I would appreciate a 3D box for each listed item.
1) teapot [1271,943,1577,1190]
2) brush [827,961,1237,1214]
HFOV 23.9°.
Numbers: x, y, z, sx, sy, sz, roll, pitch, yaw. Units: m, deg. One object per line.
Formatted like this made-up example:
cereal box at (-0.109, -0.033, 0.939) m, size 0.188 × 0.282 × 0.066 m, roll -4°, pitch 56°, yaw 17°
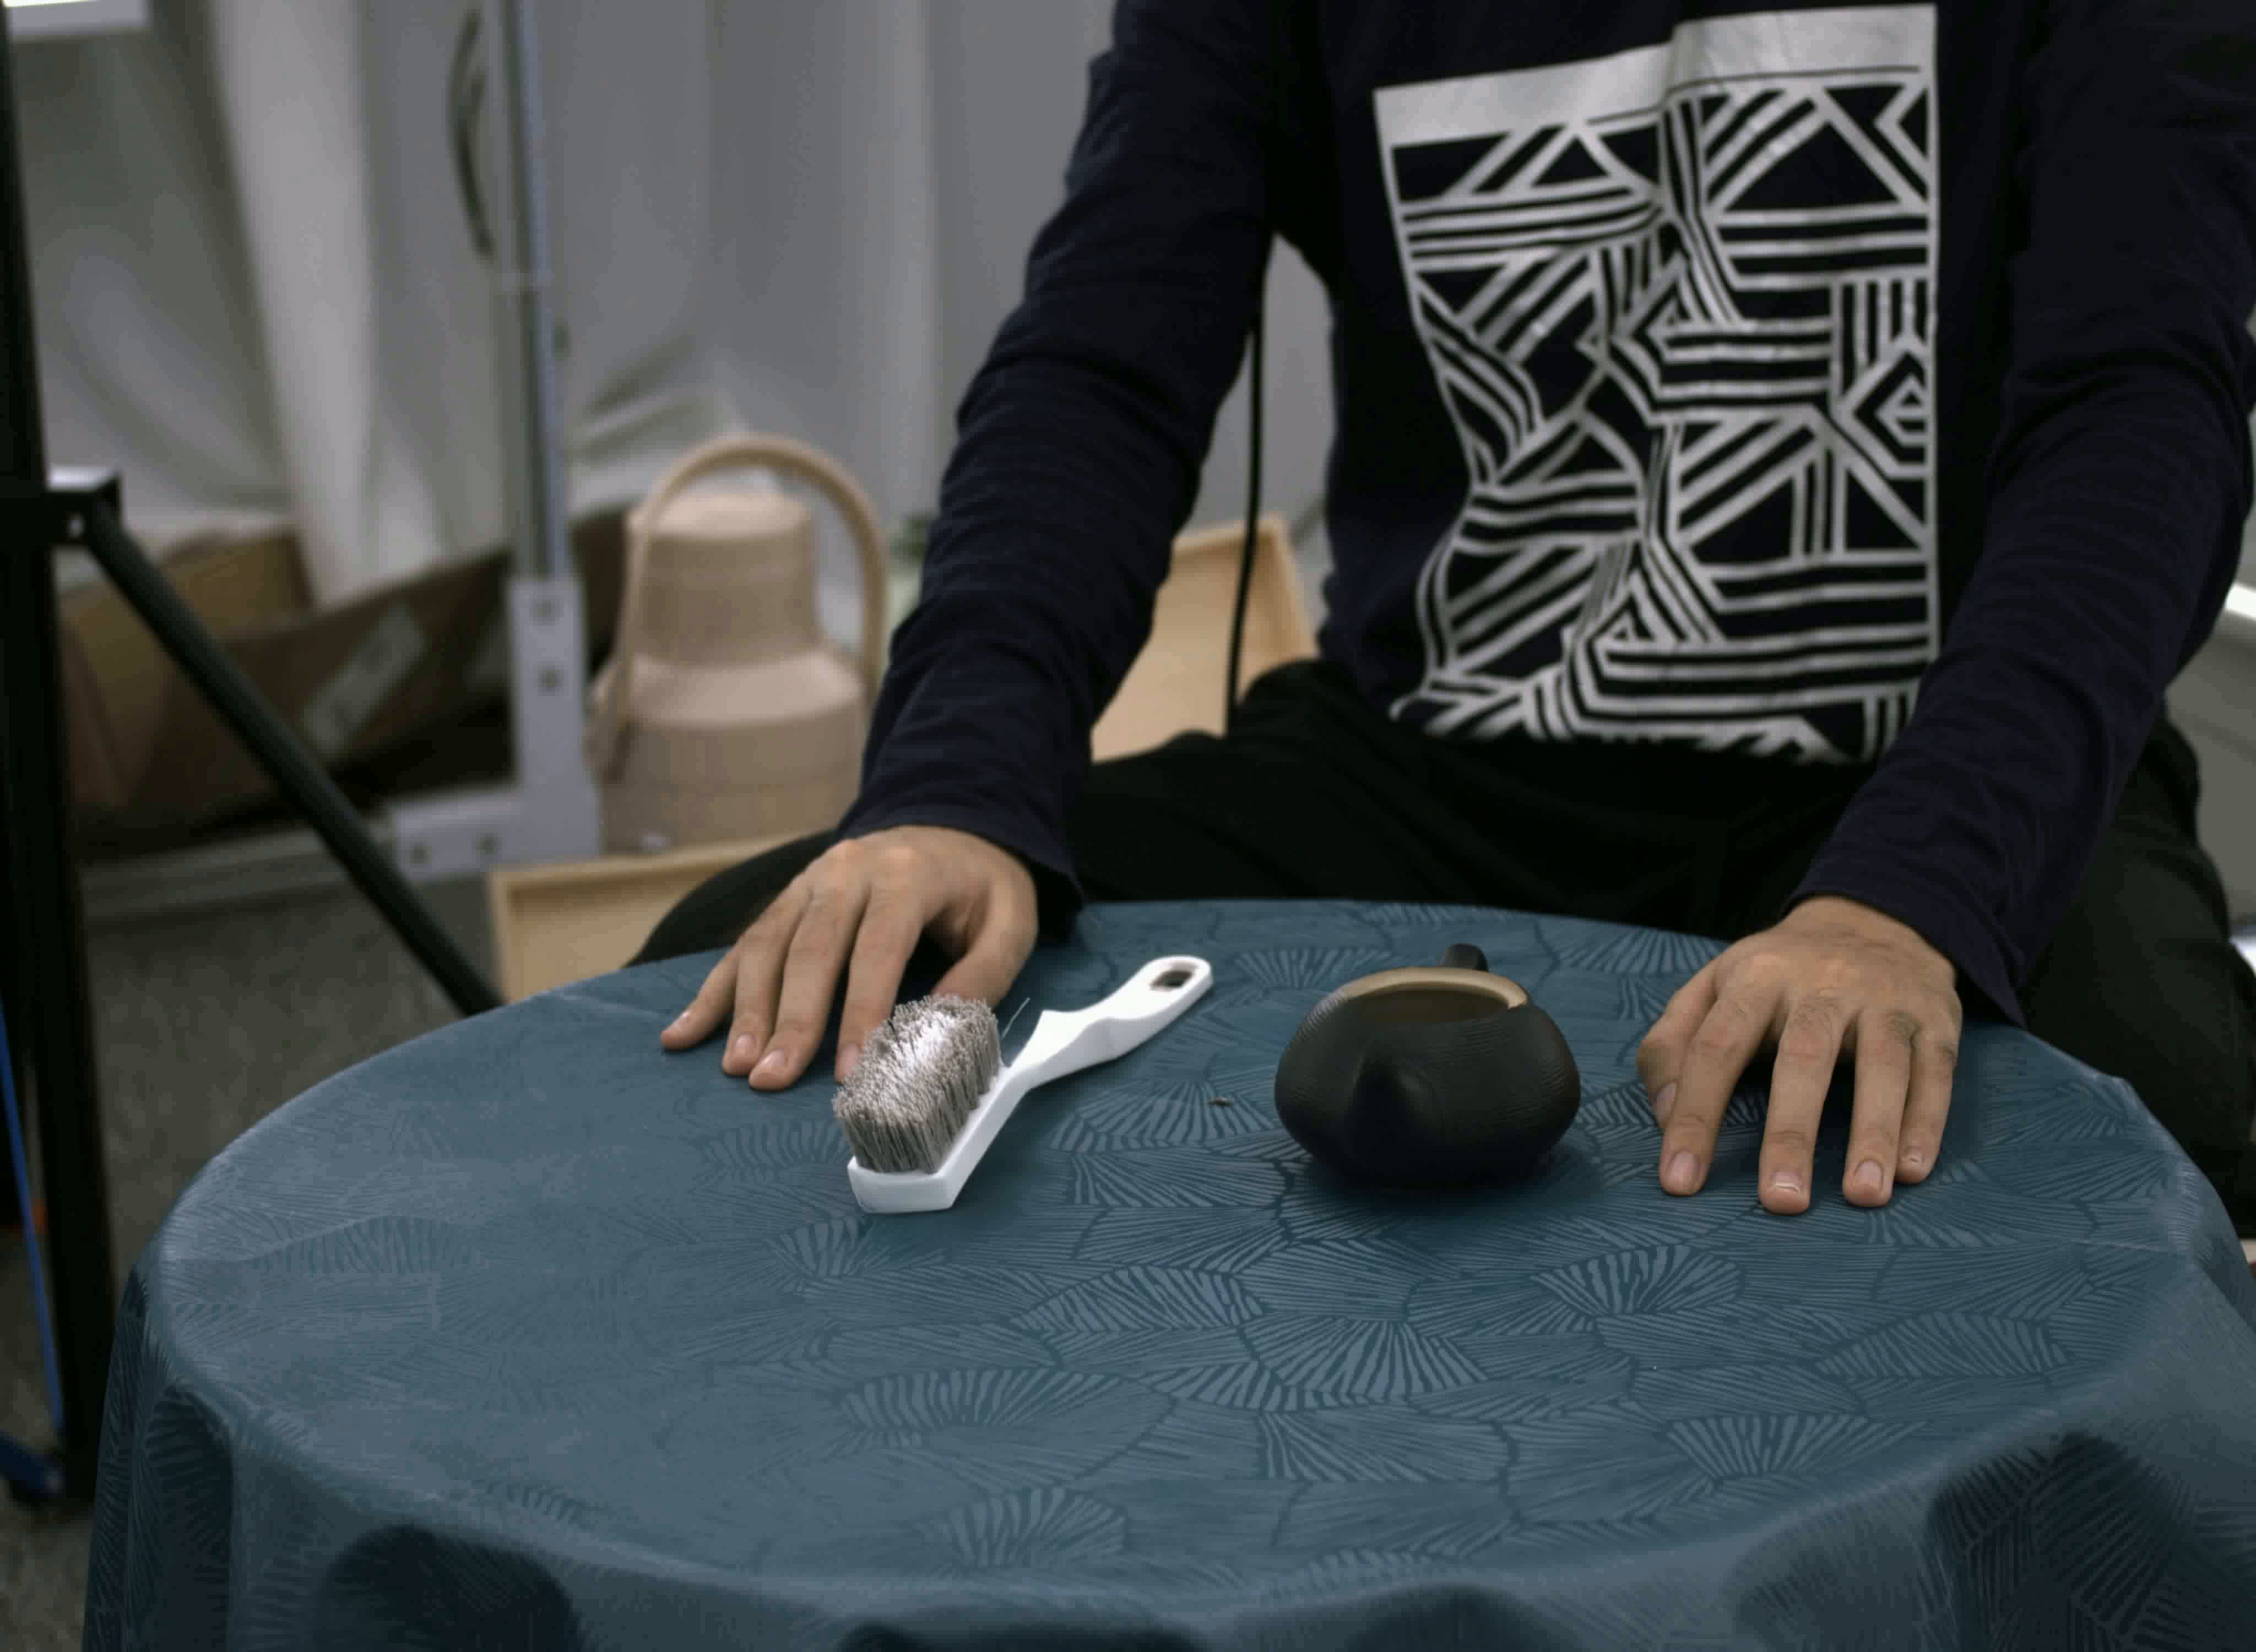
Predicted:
teapot at (0.088, 0.075, 1.568) m, size 0.092 × 0.053 × 0.132 m, roll 5°, pitch 17°, yaw 16°
brush at (-0.025, 0.061, 1.644) m, size 0.035 × 0.050 × 0.240 m, roll 1°, pitch 16°, yaw 26°
